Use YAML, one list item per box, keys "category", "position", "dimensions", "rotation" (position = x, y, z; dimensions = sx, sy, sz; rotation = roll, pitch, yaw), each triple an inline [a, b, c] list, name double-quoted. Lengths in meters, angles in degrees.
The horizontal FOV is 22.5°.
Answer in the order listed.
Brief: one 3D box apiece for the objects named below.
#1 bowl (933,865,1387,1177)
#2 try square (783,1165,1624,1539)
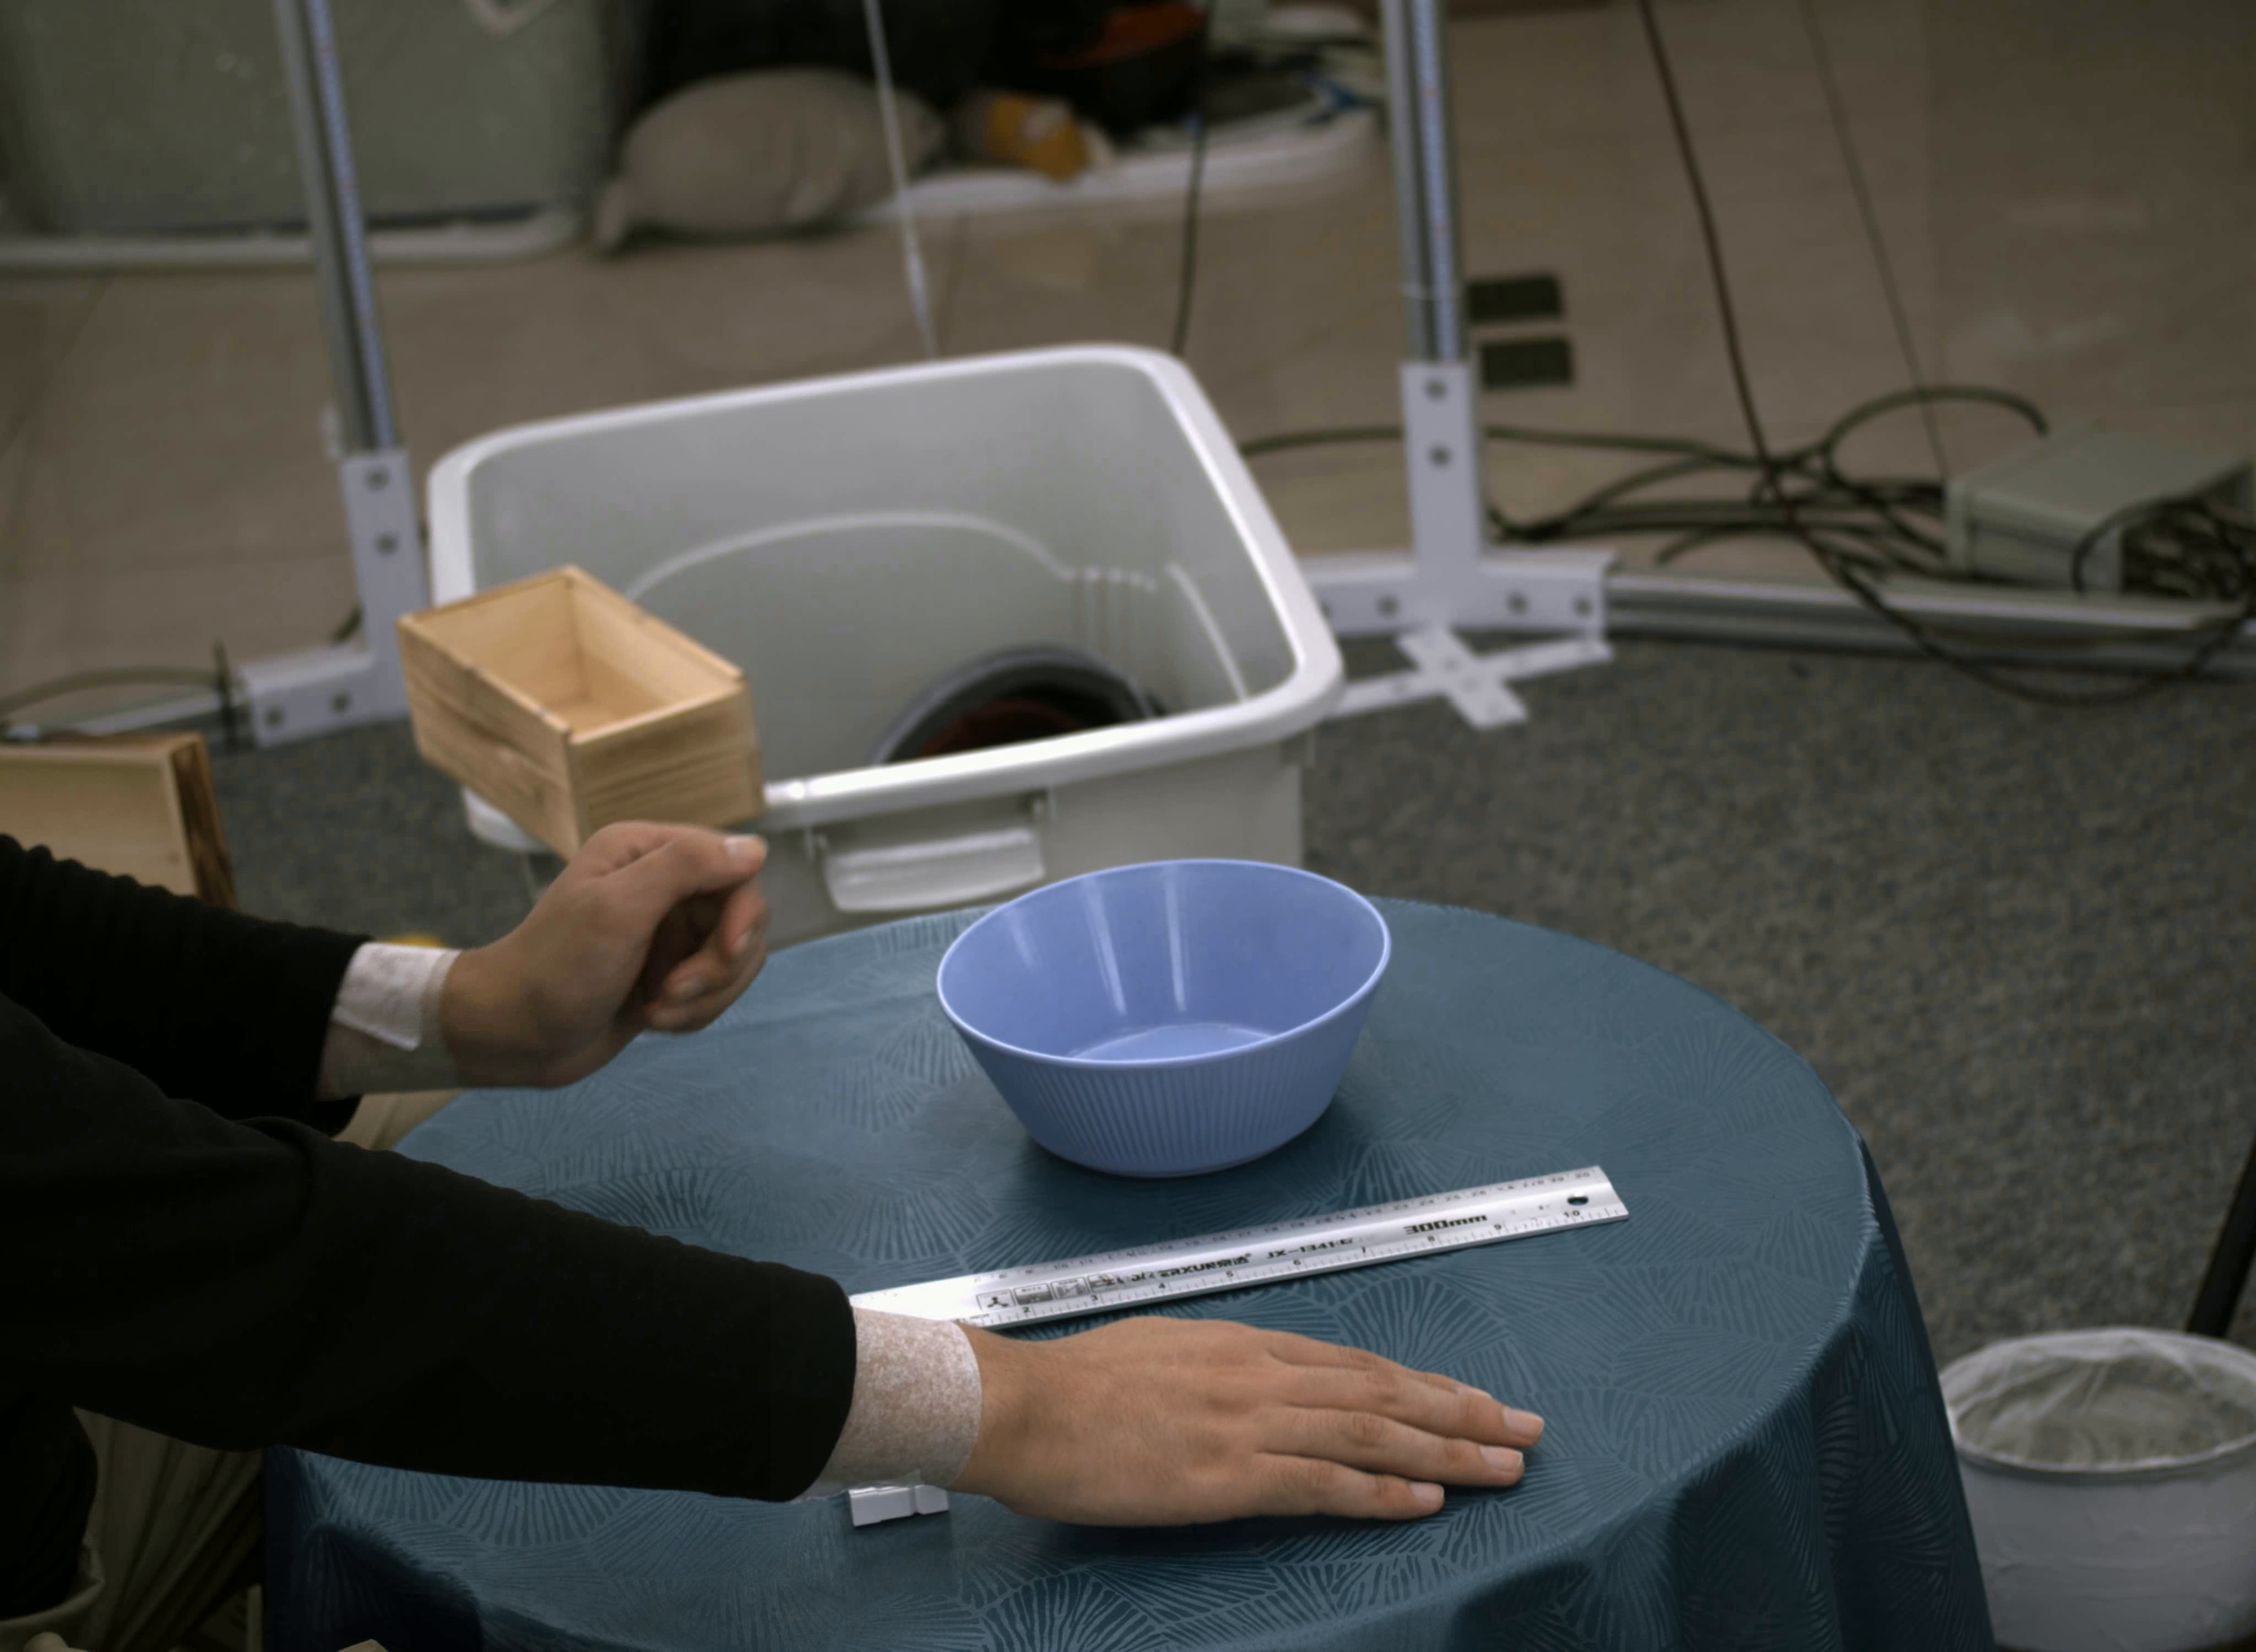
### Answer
- category: "bowl"
  position: [0.015, 0.080, 2.187]
  dimensions: [0.176, 0.071, 0.173]
  rotation: [-5, 25, 2]
- category: "try square"
  position: [0.038, 0.184, 2.039]
  dimensions: [0.312, 0.016, 0.150]
  rotation: [-9, 28, -8]
